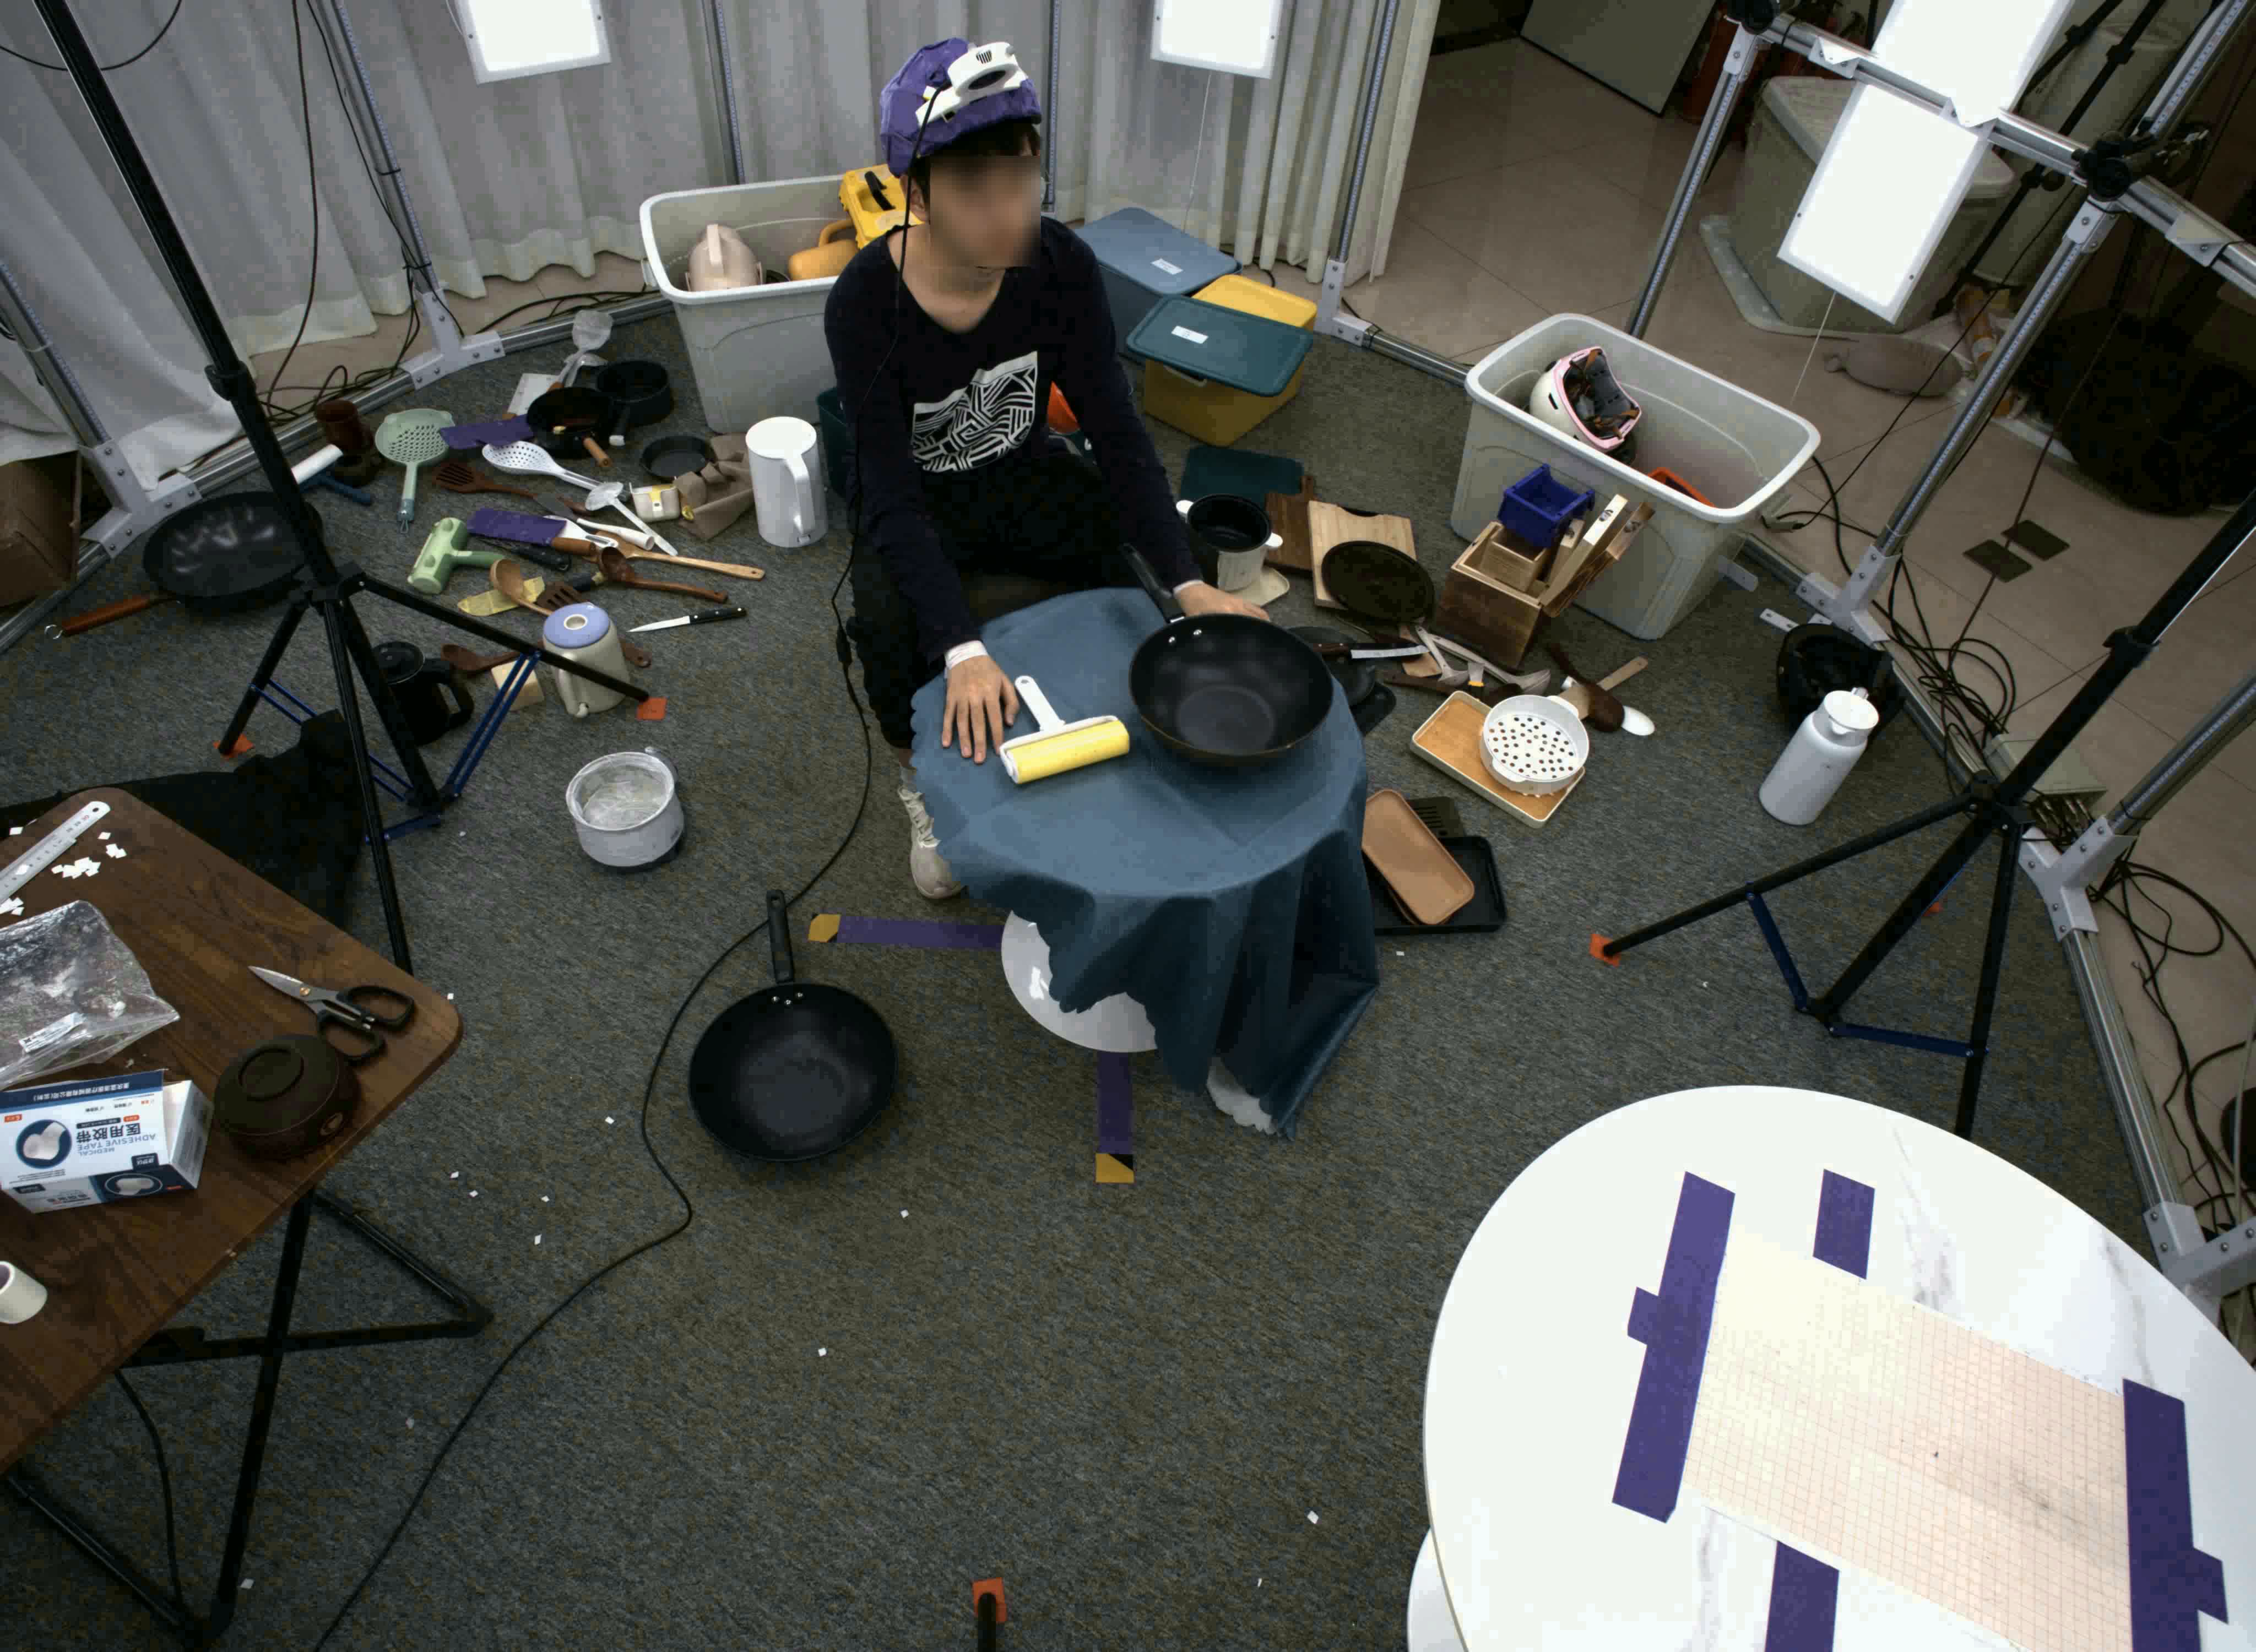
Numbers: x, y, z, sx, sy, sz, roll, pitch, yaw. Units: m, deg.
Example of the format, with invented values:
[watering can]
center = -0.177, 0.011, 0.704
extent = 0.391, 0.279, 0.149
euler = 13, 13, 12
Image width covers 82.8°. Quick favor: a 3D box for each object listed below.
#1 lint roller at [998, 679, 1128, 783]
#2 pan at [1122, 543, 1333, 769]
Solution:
[lint roller]
center = -0.113, -0.150, 1.760
extent = 0.174, 0.050, 0.196
euler = -16, 53, -18
[pan]
center = 0.095, -0.237, 1.826
extent = 0.288, 0.085, 0.473
euler = -19, 53, -20
